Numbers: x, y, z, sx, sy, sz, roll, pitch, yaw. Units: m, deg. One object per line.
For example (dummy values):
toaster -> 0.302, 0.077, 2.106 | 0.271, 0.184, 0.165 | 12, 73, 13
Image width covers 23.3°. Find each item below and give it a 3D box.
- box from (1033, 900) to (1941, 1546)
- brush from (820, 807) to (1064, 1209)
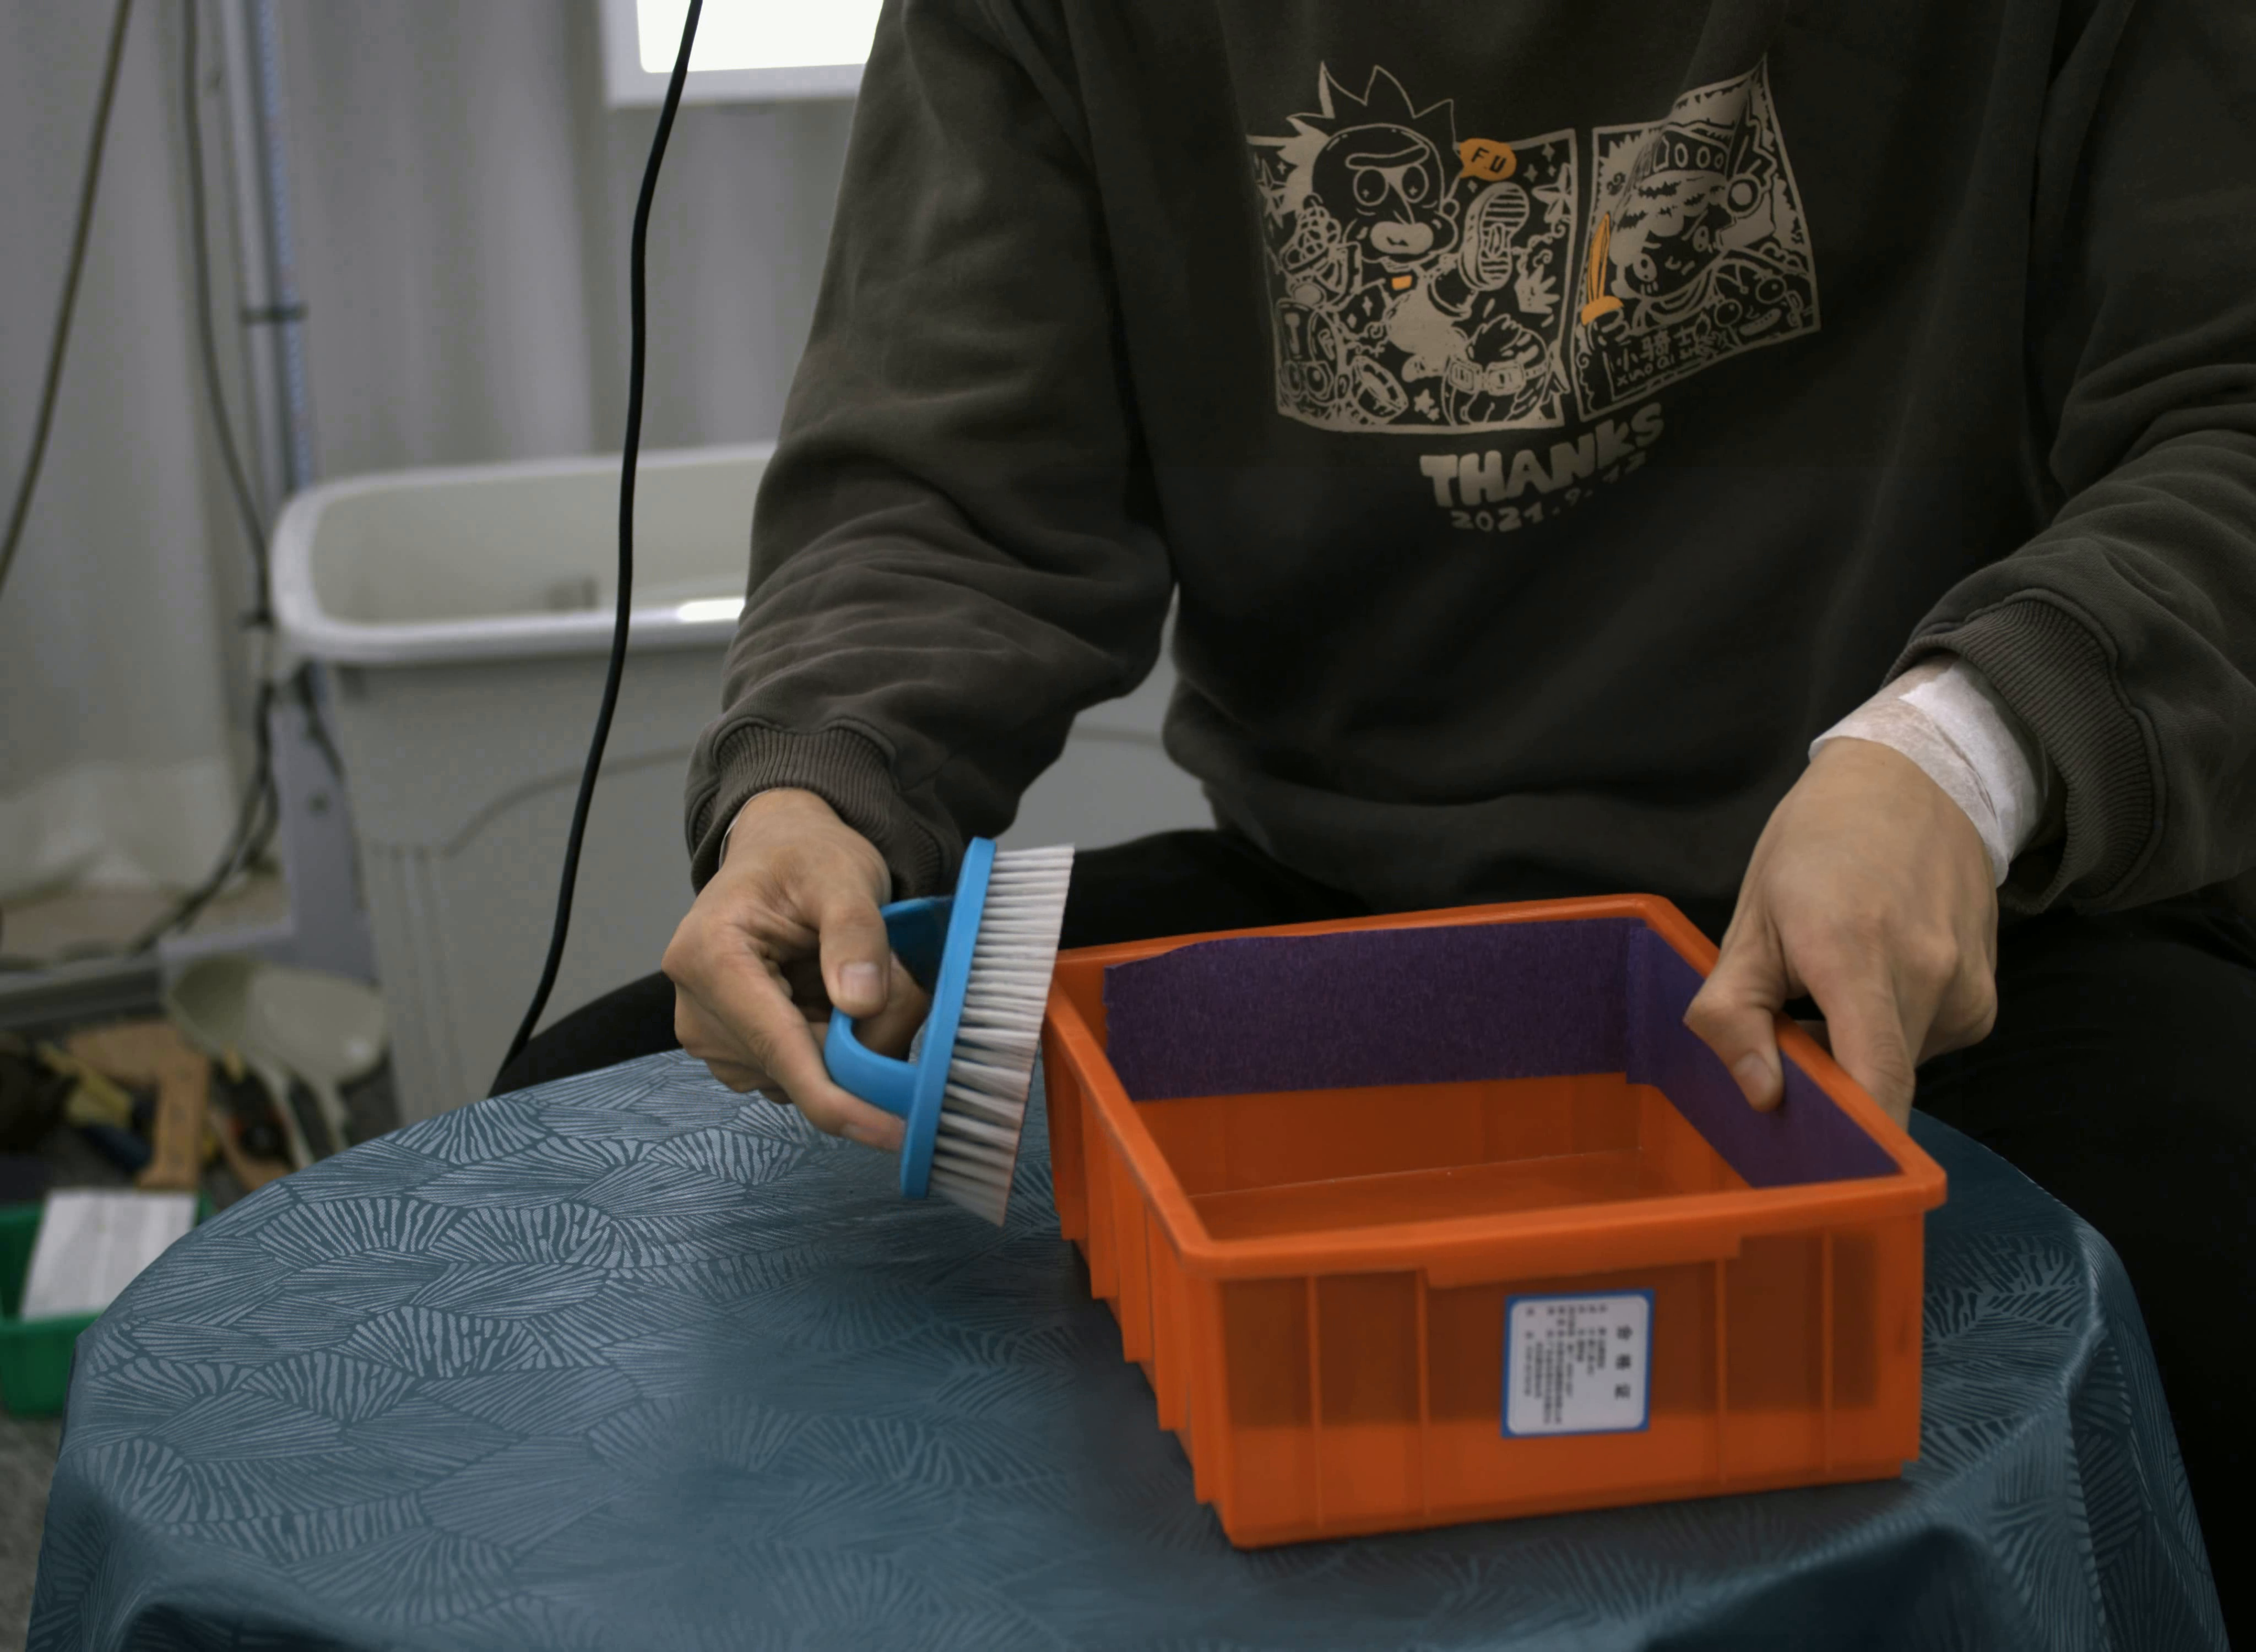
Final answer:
box -> 0.092, 0.108, 1.563 | 0.205, 0.096, 0.306 | -5, 15, -8
brush -> -0.058, 0.054, 1.654 | 0.063, 0.083, 0.144 | 8, 37, 2
